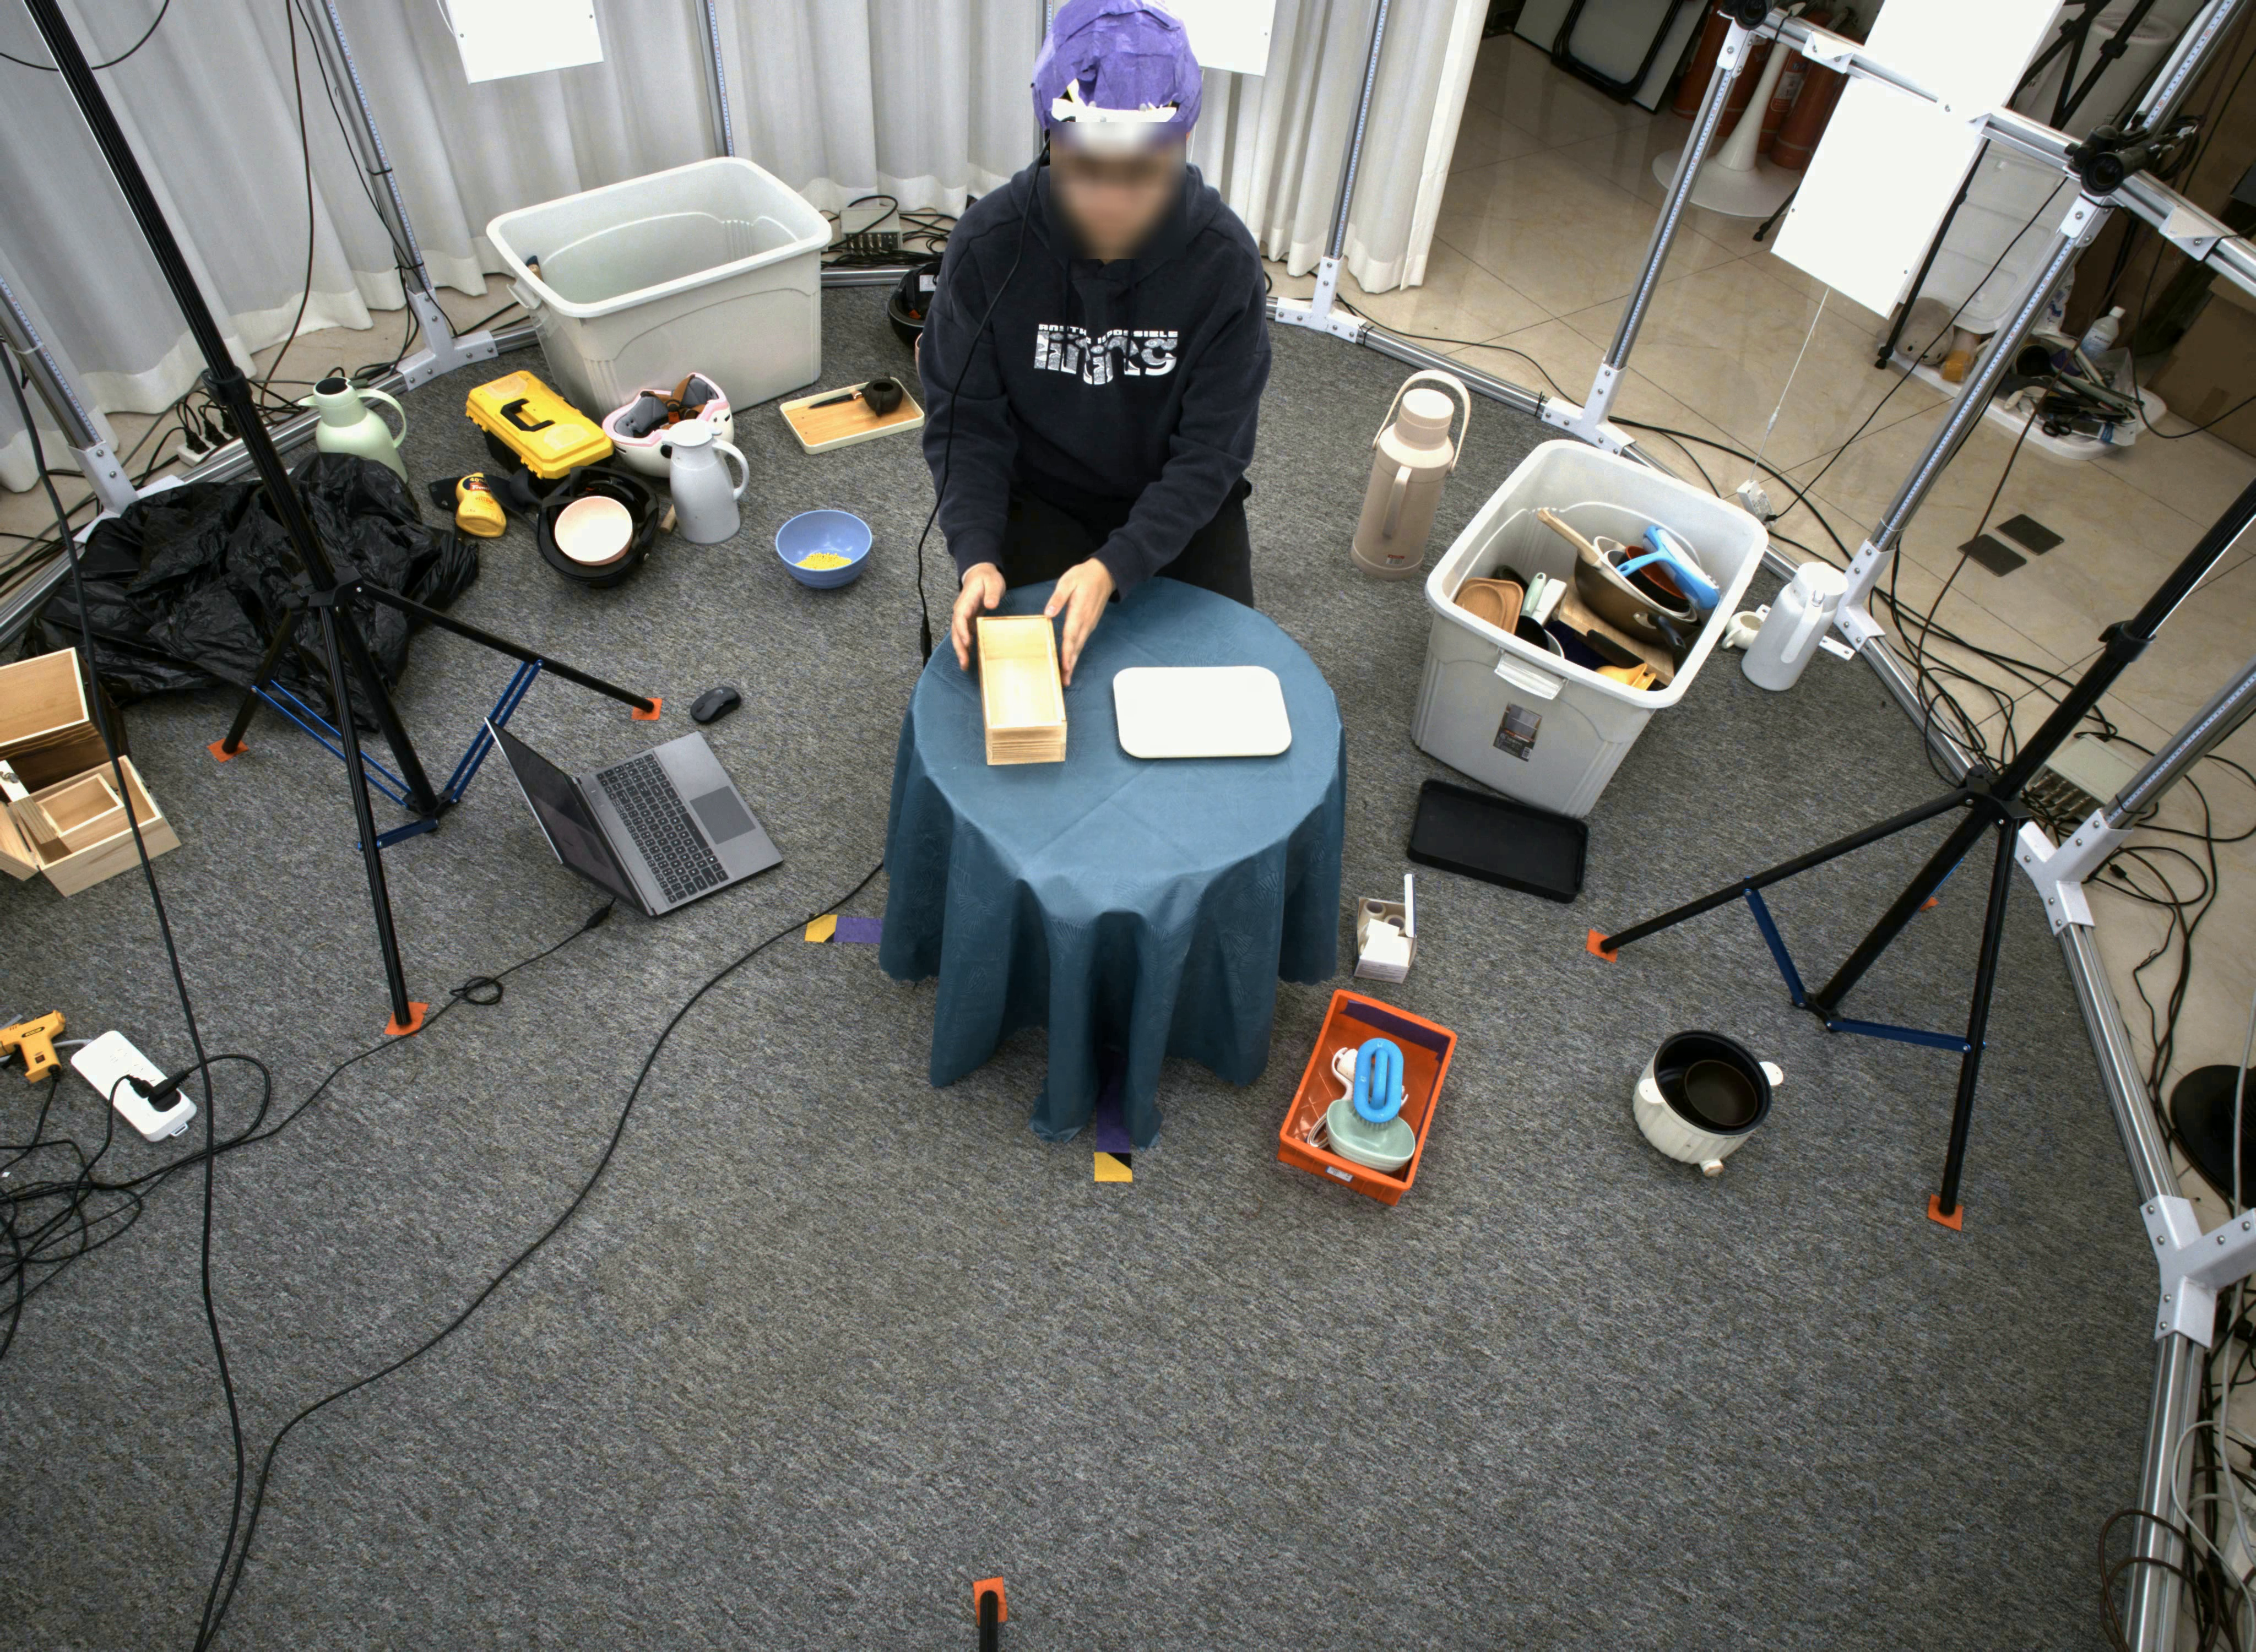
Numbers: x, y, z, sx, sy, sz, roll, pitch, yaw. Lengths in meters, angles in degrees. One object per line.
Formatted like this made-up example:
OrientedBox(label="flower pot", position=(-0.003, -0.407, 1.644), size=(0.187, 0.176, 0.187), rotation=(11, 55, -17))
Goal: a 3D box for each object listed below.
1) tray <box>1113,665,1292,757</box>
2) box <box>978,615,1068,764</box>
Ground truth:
OrientedBox(label="tray", position=(0.102, -0.161, 1.801), size=(0.239, 0.017, 0.175), rotation=(-2, 49, -6))
OrientedBox(label="box", position=(-0.147, -0.191, 1.768), size=(0.107, 0.078, 0.217), rotation=(-3, 49, -8))
